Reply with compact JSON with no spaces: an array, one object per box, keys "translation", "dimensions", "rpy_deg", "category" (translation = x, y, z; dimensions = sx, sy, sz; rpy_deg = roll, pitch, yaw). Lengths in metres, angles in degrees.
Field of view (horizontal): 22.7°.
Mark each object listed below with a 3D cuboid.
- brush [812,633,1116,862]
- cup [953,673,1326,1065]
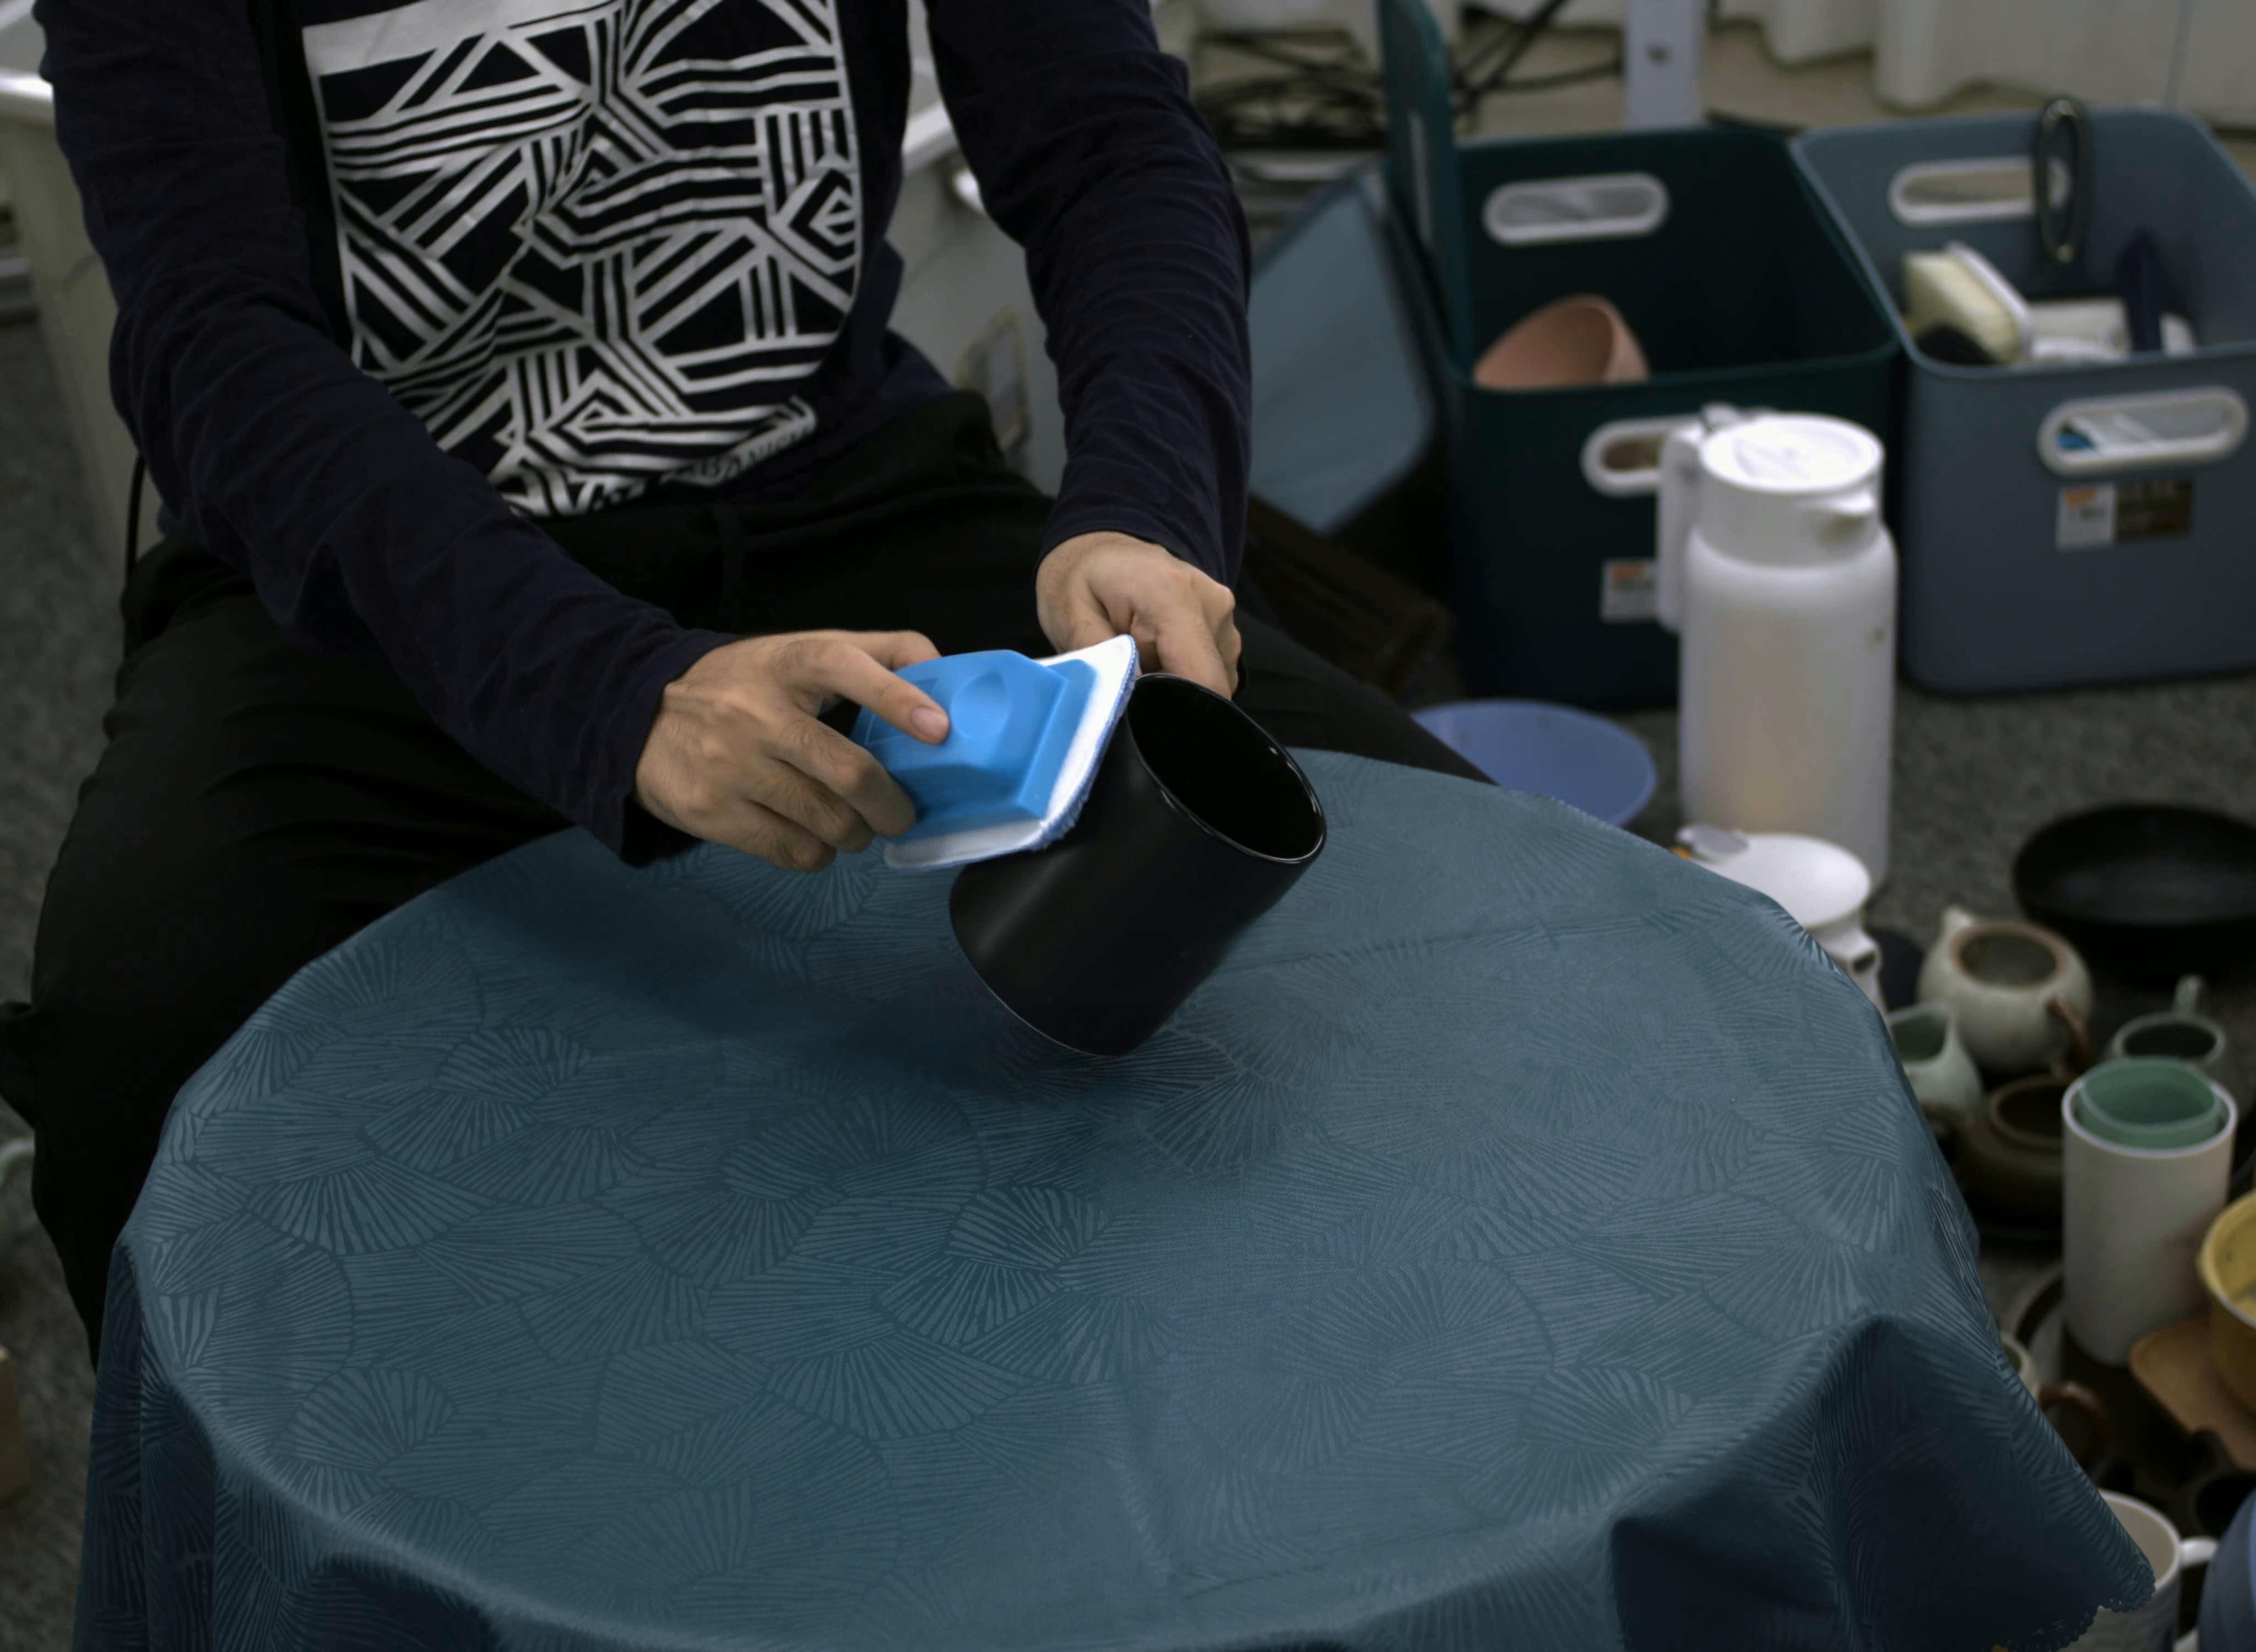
[{"translation":[-0.063,-0.032,1.914],"dimensions":[0.055,0.085,0.143],"rpy_deg":[32,-16,-26],"category":"brush"},{"translation":[0.001,0.004,1.922],"dimensions":[0.088,0.104,0.125],"rpy_deg":[23,29,-28],"category":"cup"}]
